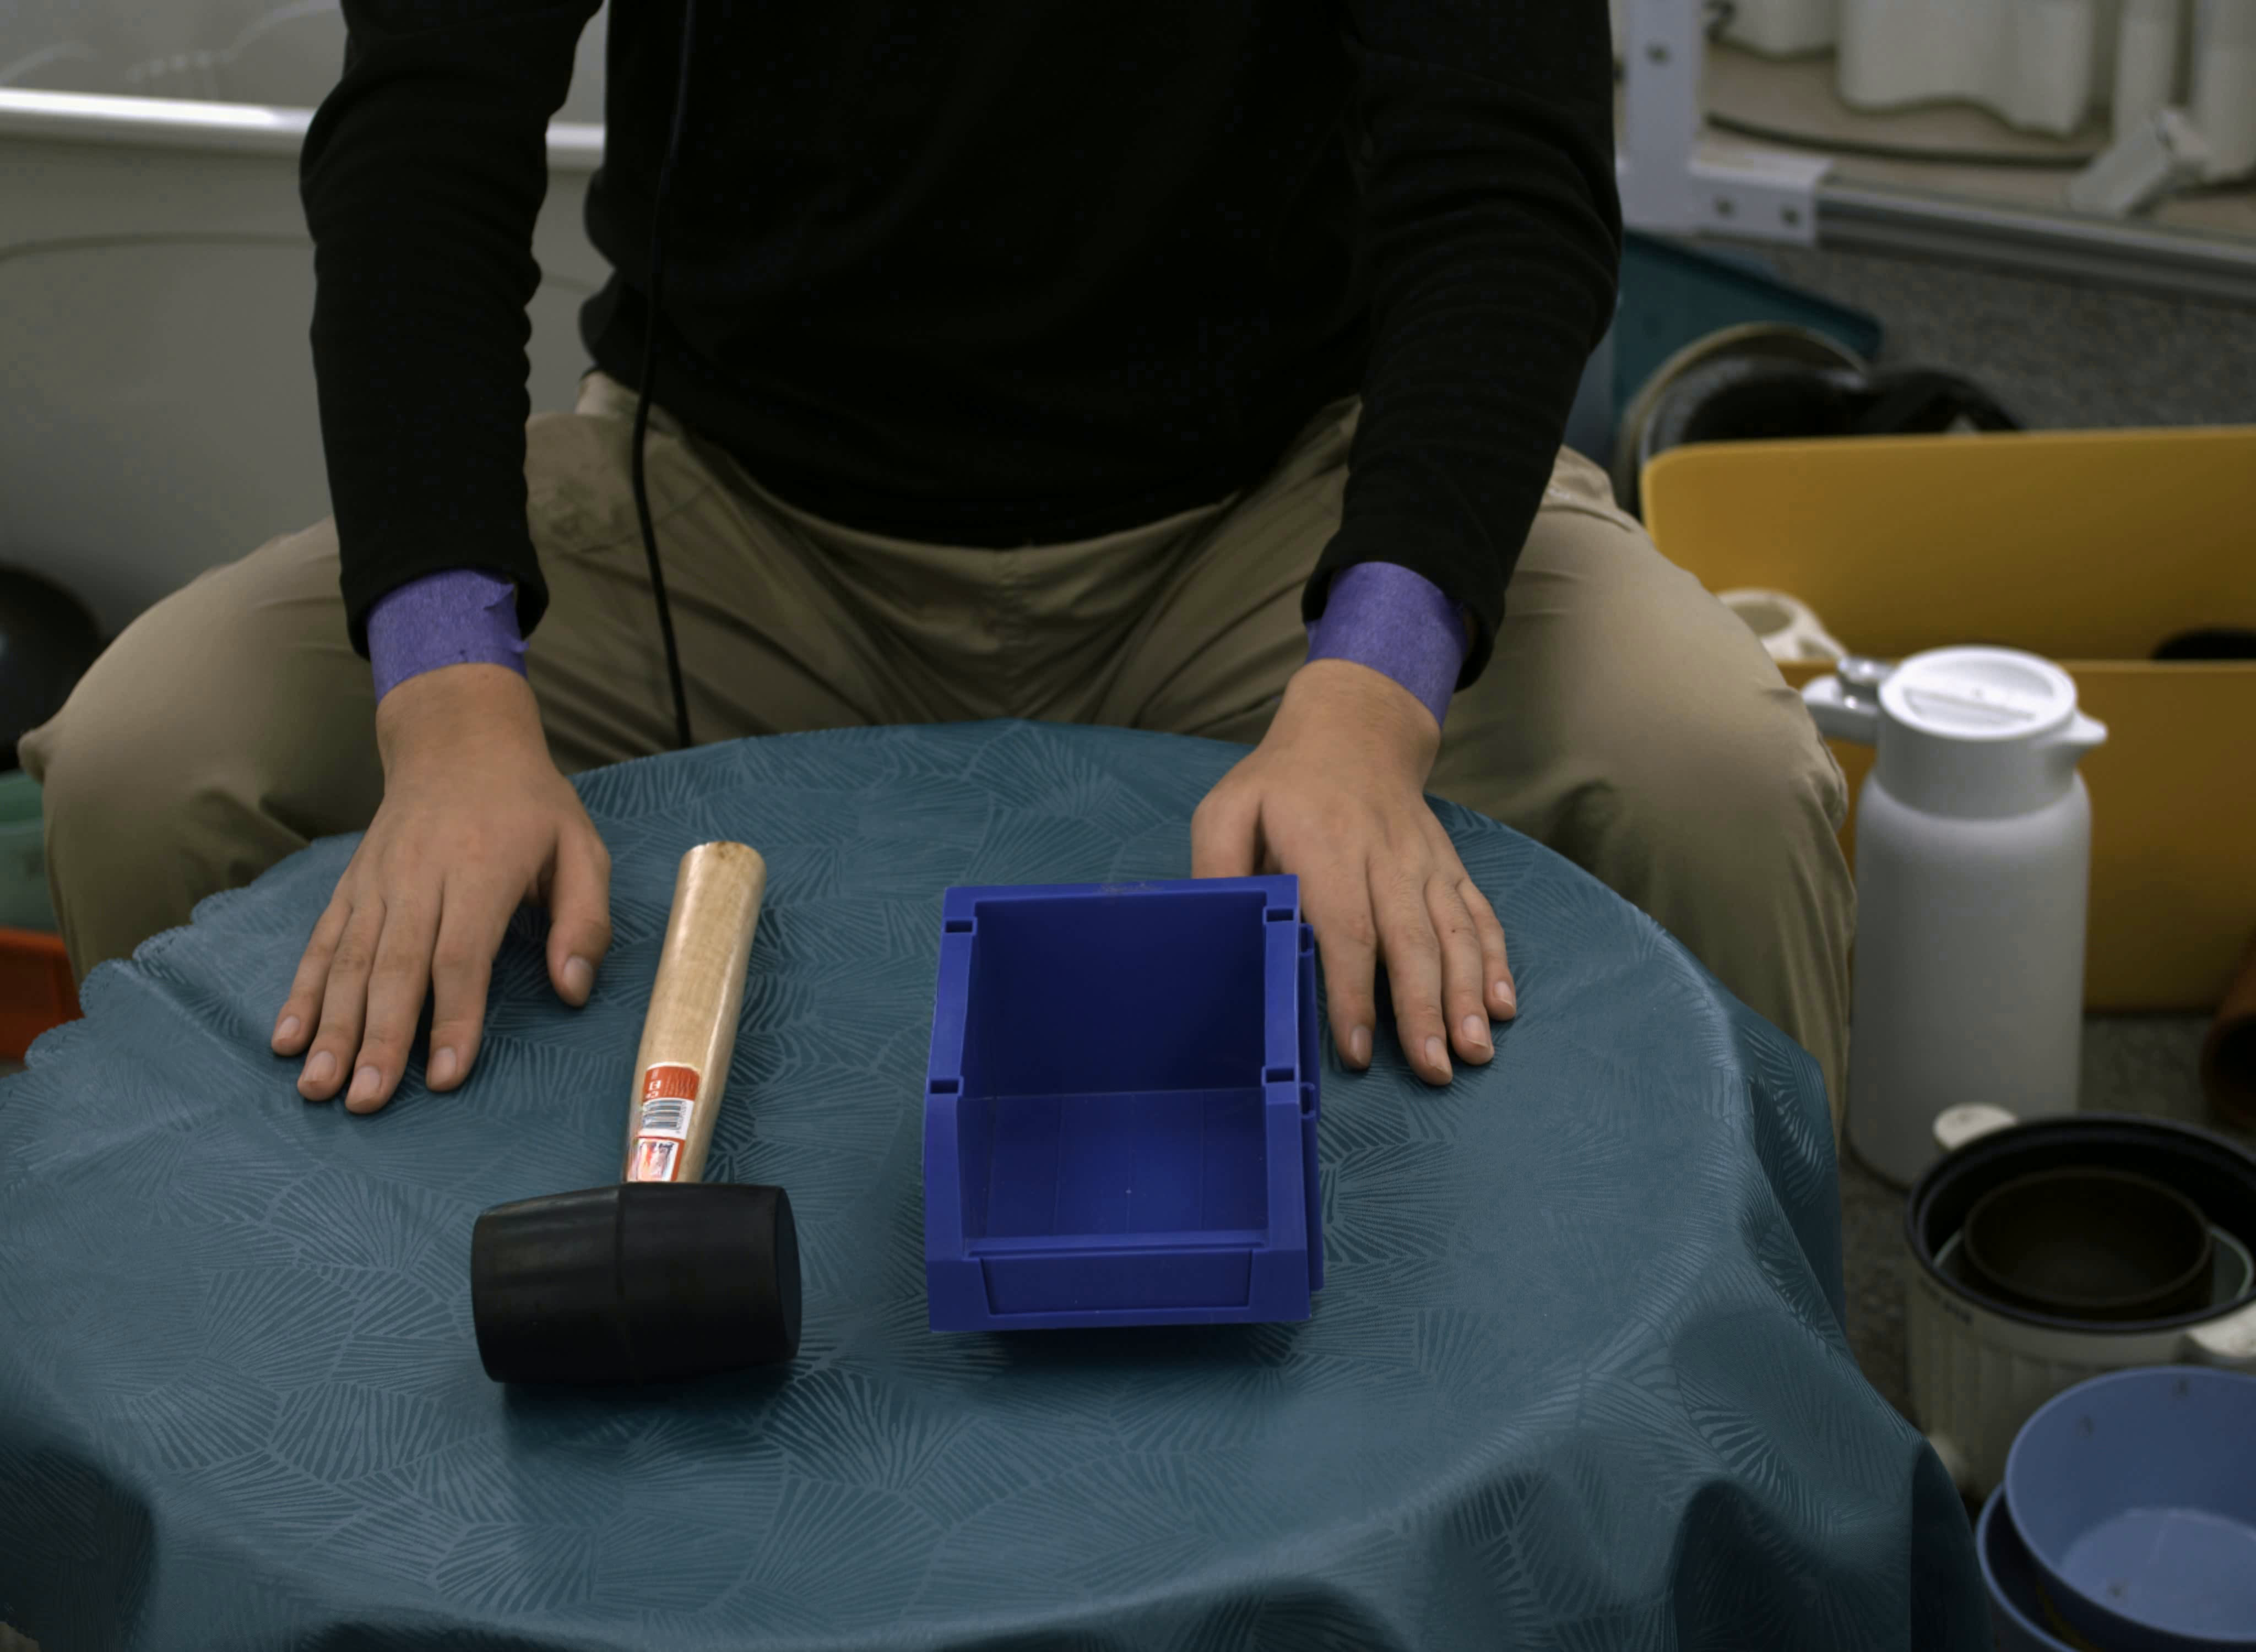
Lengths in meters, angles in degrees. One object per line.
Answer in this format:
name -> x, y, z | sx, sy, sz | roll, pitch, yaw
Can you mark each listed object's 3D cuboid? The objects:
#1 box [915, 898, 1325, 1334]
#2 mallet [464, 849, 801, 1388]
box -> 0.000, 0.099, 1.815 | 0.124, 0.081, 0.182 | -1, 24, 3
mallet -> -0.152, 0.082, 1.886 | 0.101, 0.063, 0.344 | -2, 27, 3
